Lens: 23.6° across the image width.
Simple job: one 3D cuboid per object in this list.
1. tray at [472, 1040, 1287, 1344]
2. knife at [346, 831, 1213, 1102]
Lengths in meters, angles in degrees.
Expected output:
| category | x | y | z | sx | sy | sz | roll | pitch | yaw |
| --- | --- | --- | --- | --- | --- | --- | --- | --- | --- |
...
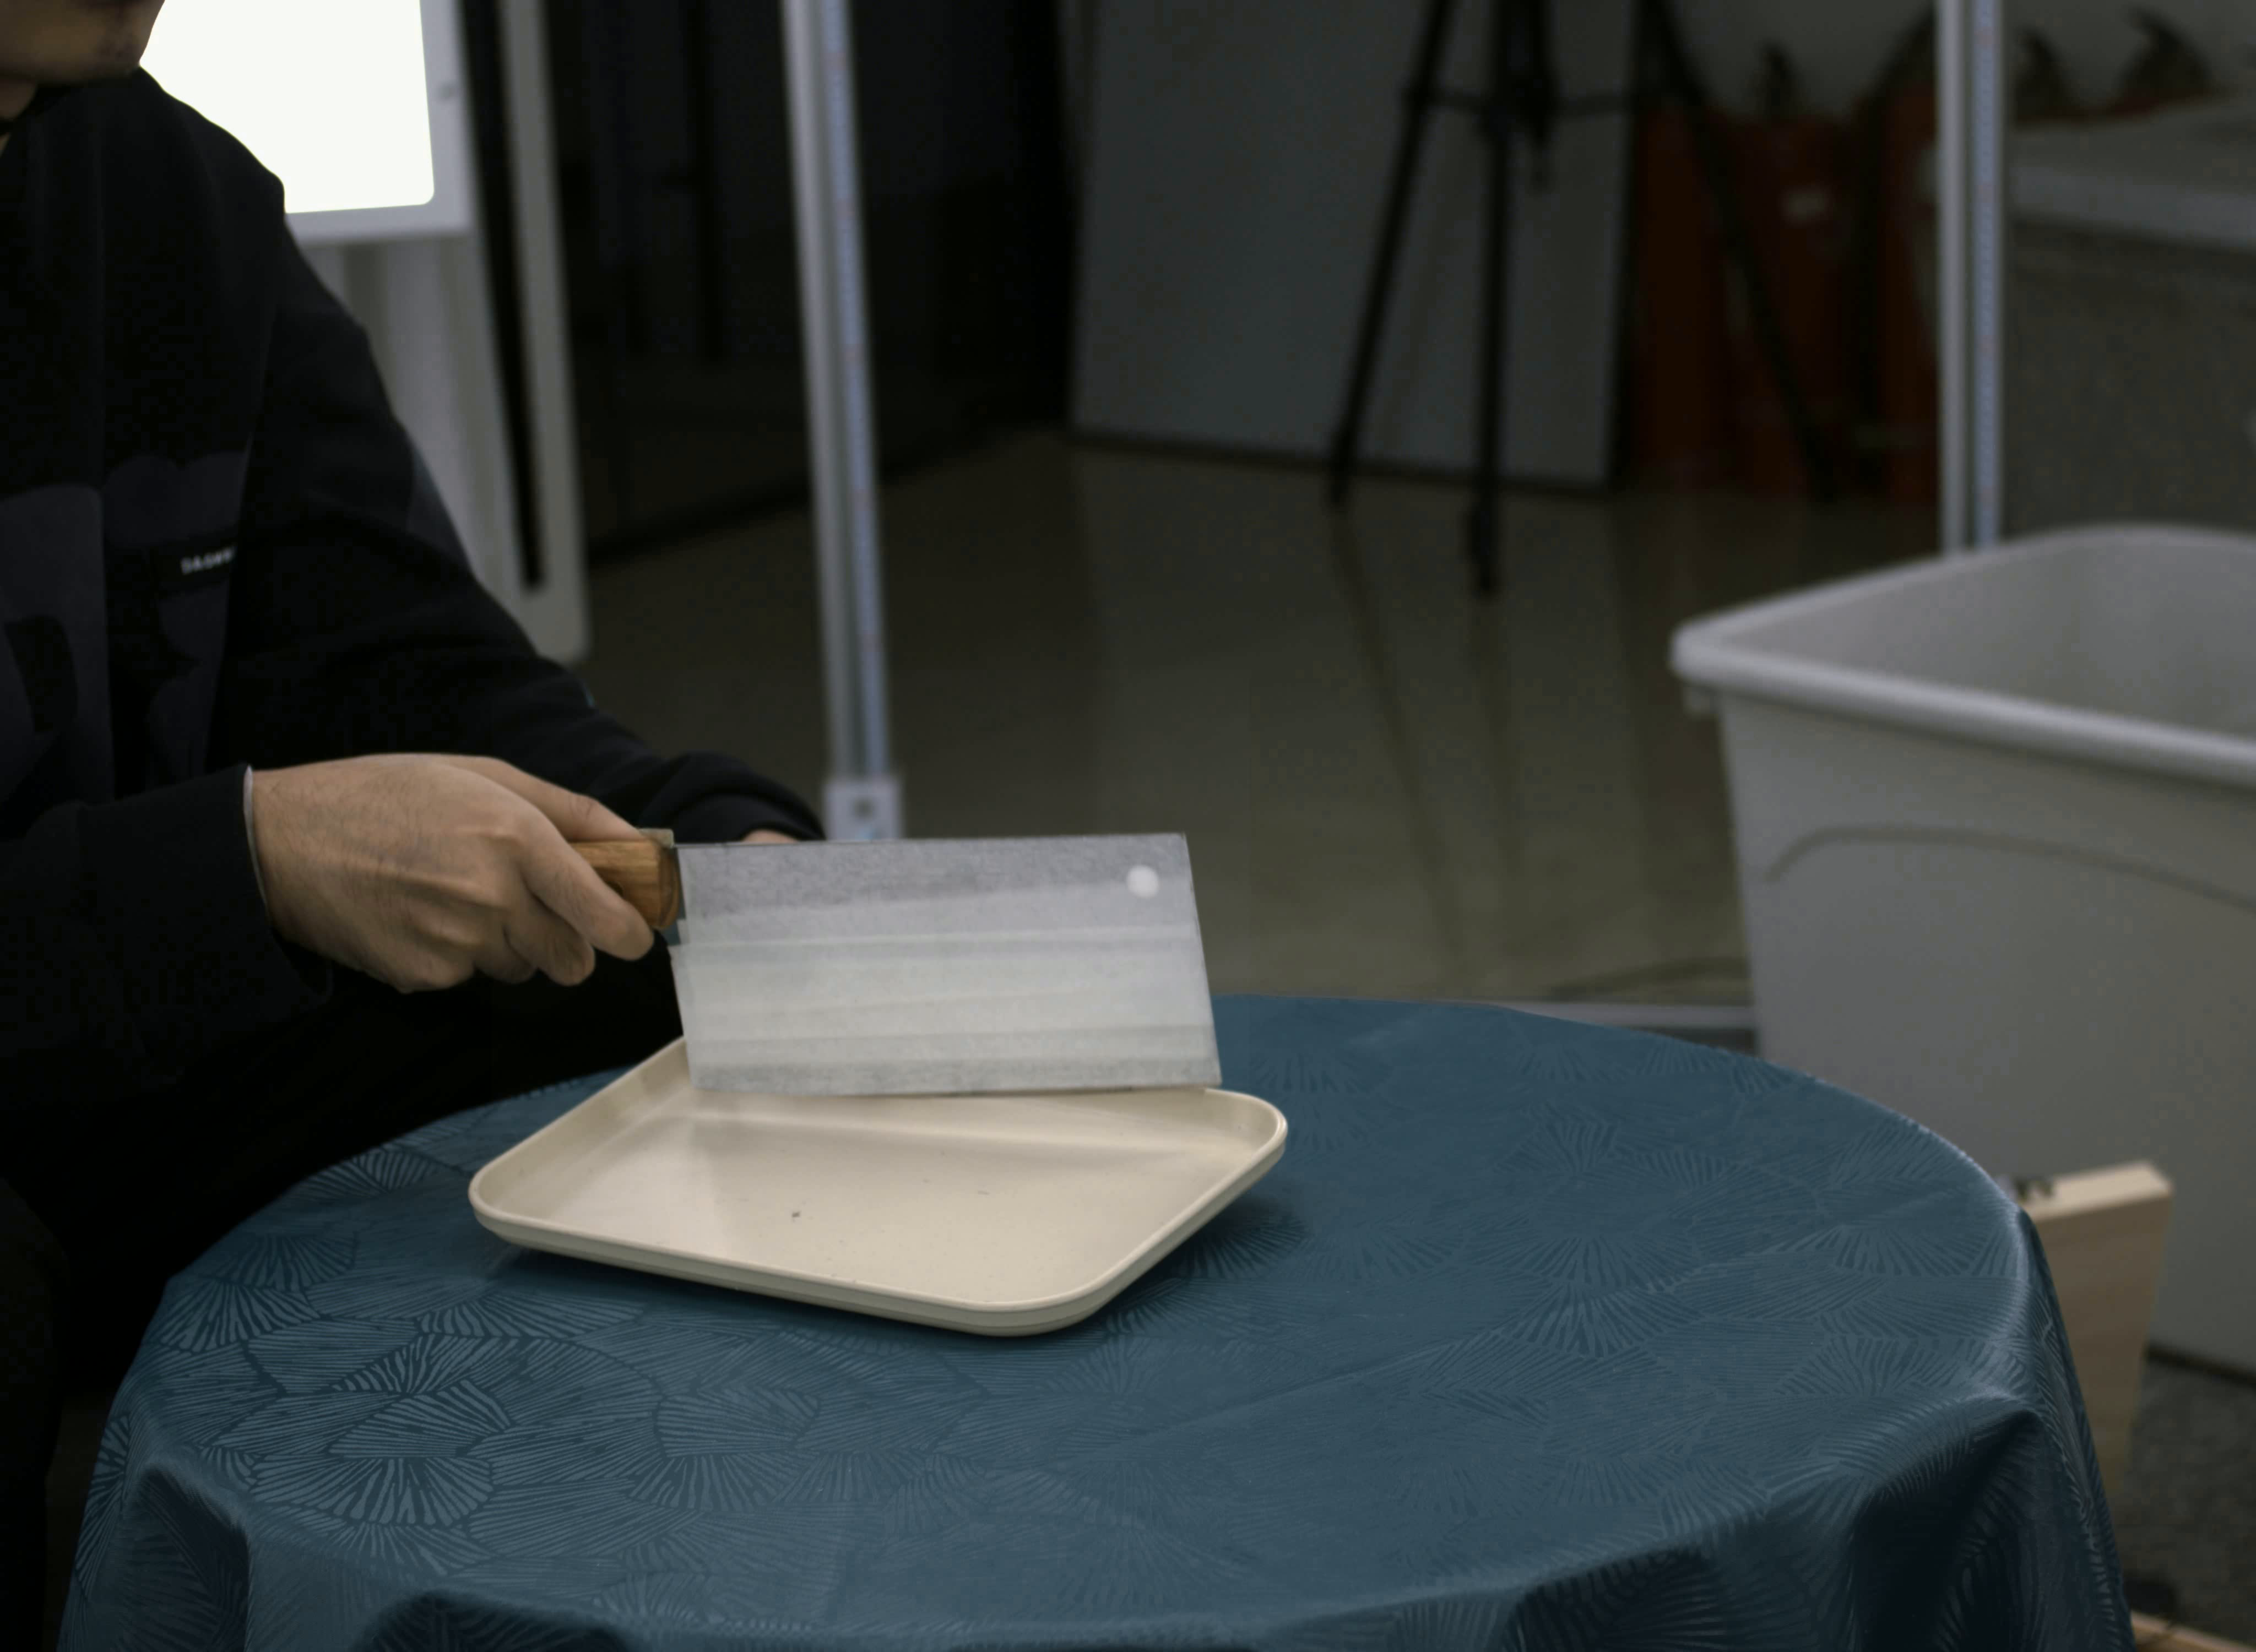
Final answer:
| category | x | y | z | sx | sy | sz | roll | pitch | yaw |
| --- | --- | --- | --- | --- | --- | --- | --- | --- | --- |
| tray | -0.079 | 0.114 | 1.742 | 0.241 | 0.017 | 0.169 | 7 | 25 | 32 |
| knife | -0.116 | 0.048 | 1.787 | 0.305 | 0.094 | 0.021 | -2 | 19 | 22 |
